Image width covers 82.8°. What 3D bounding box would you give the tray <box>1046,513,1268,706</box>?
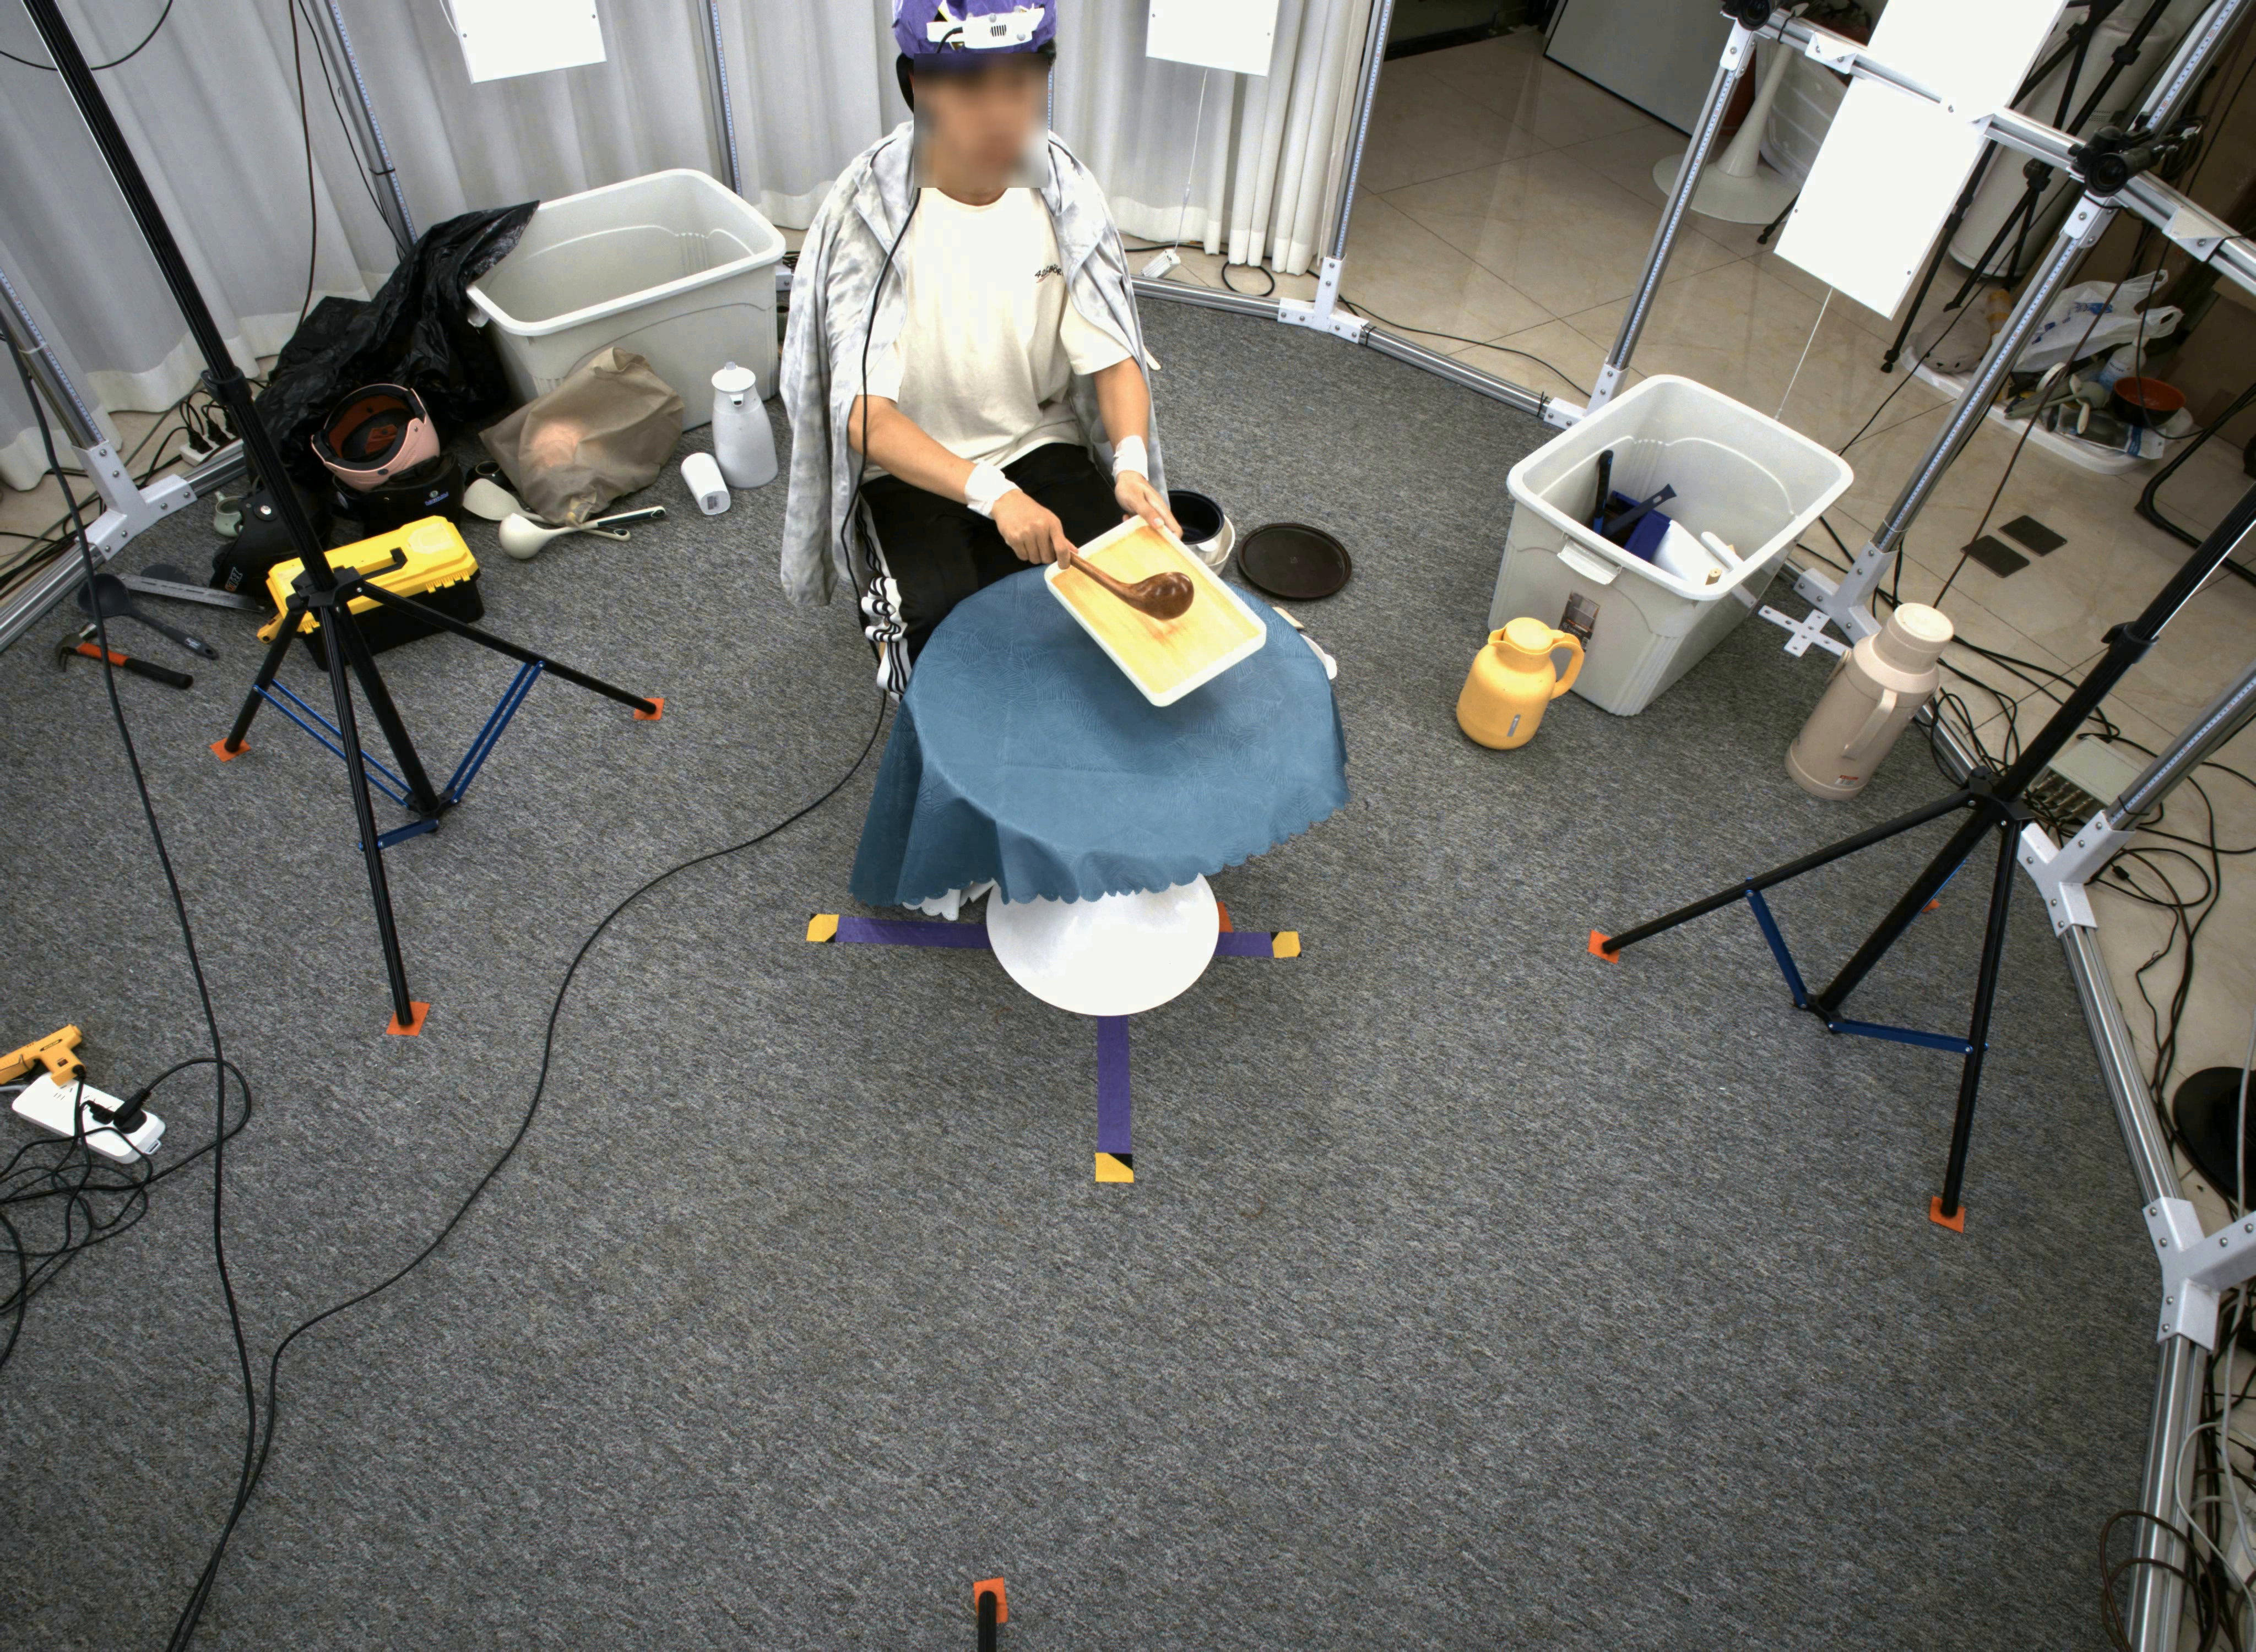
[{"bbox_3d":[0.037,-0.309,1.799,0.192,0.027,0.306,-32,58,-12],"label":"tray"}]

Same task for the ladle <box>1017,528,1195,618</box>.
[{"bbox_3d":[-0.030,-0.367,1.785,0.278,0.080,0.077,33,57,26],"label":"ladle"}]
